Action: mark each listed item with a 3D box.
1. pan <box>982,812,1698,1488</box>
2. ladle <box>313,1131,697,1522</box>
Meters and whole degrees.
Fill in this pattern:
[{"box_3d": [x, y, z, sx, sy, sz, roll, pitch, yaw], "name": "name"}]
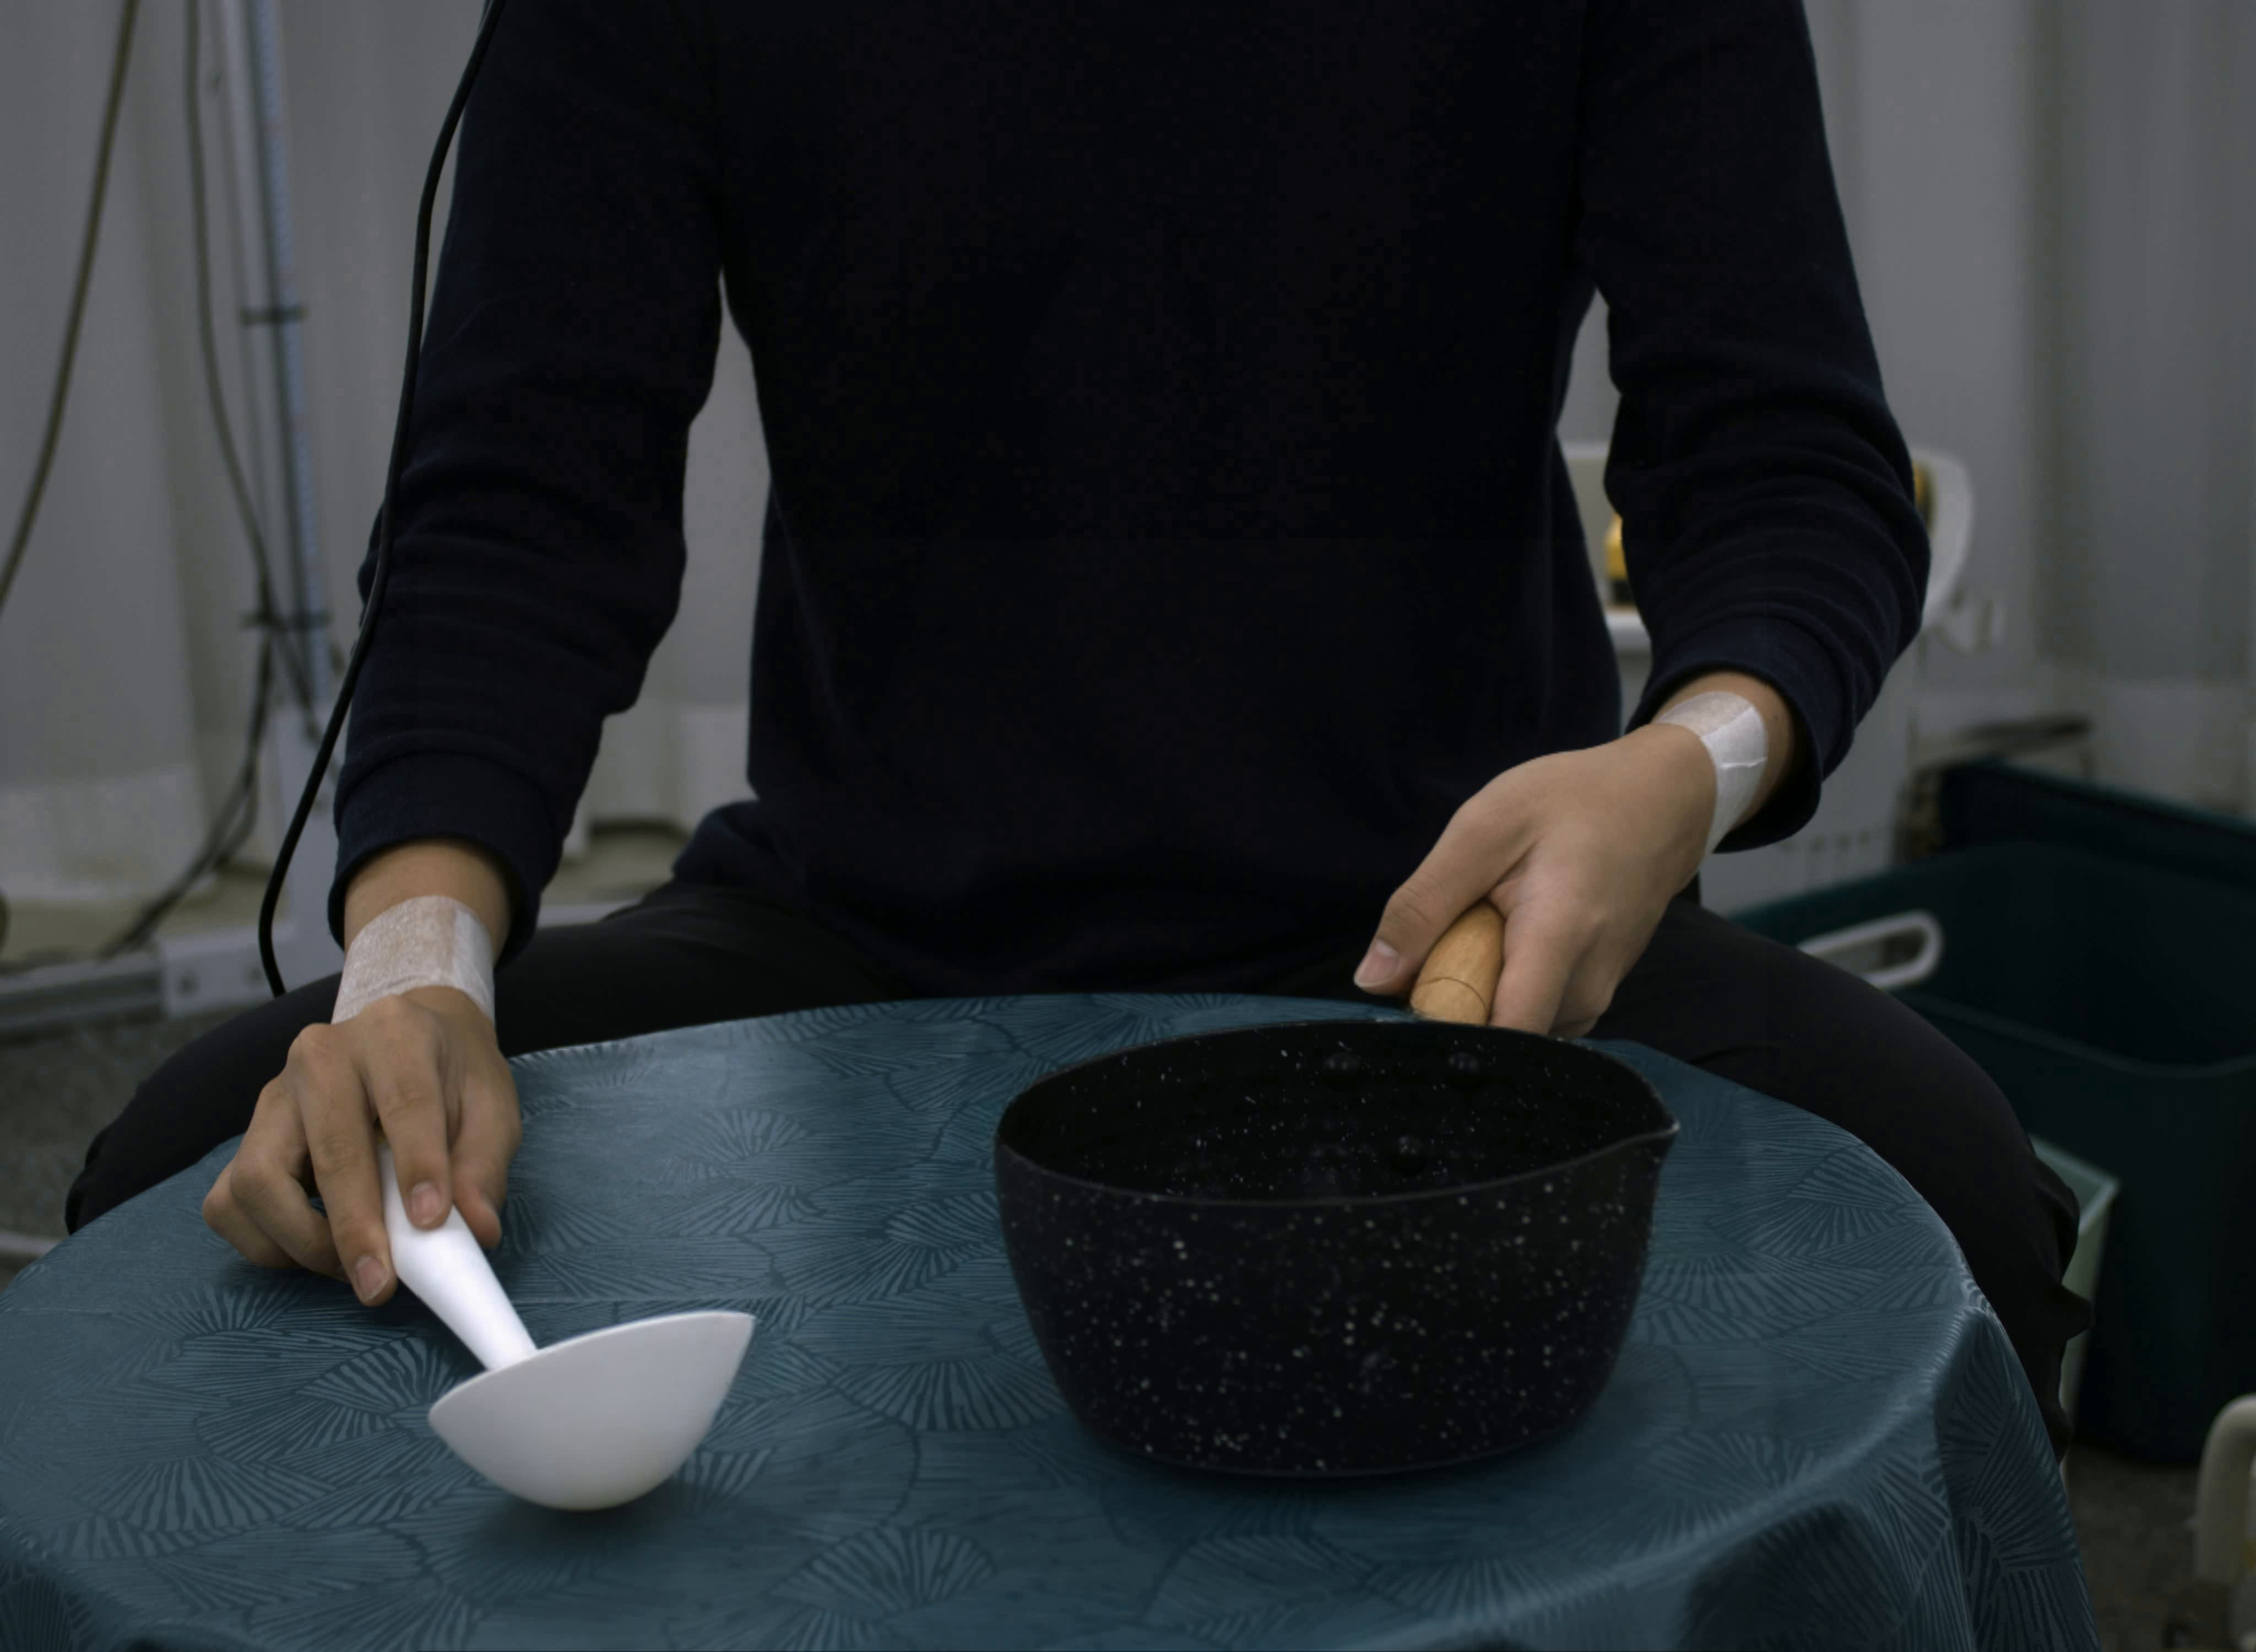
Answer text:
[{"box_3d": [0.078, 0.089, 1.592, 0.207, 0.108, 0.344, 0, 14, 16], "name": "pan"}, {"box_3d": [-0.193, 0.129, 1.569, 0.090, 0.069, 0.295, -22, 21, -14], "name": "ladle"}]
